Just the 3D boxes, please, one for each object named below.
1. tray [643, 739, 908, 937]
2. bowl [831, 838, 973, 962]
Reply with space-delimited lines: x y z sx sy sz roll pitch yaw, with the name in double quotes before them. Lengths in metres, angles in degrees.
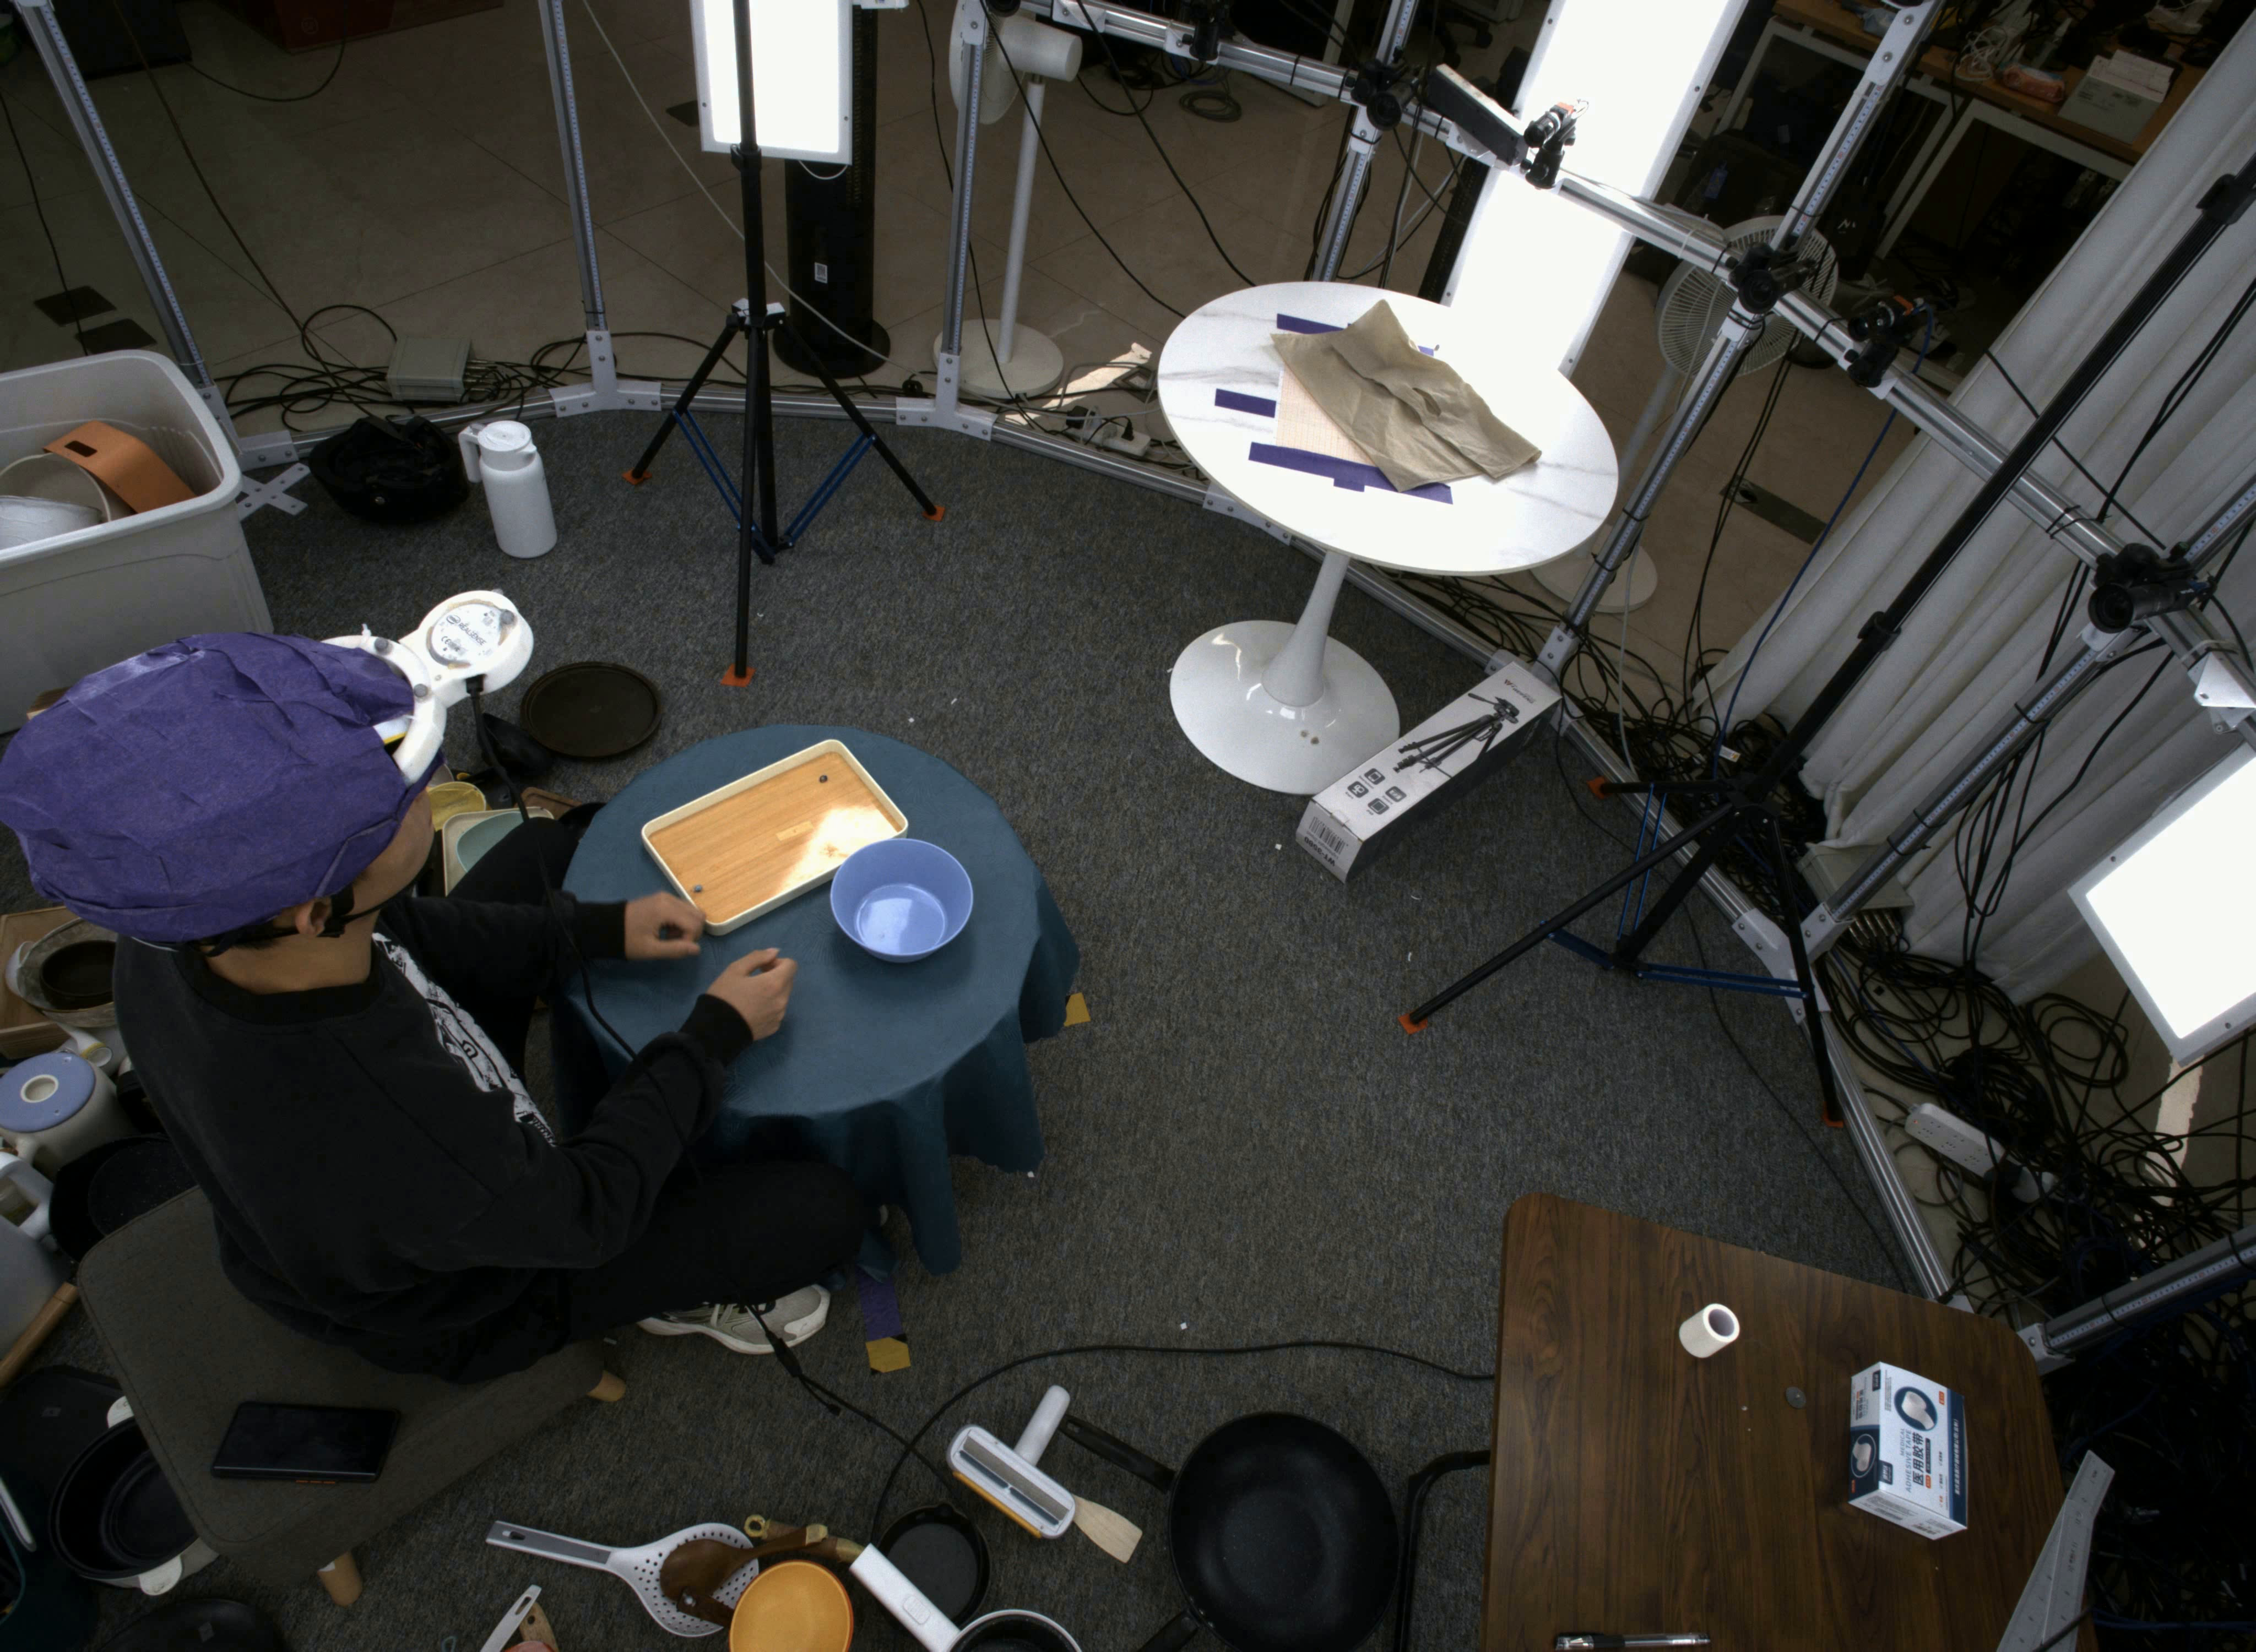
"tray" -0.459 0.008 1.697 0.301 0.028 0.187 -30 66 -31
"bowl" -0.285 0.103 1.642 0.175 0.072 0.173 7 51 -8
